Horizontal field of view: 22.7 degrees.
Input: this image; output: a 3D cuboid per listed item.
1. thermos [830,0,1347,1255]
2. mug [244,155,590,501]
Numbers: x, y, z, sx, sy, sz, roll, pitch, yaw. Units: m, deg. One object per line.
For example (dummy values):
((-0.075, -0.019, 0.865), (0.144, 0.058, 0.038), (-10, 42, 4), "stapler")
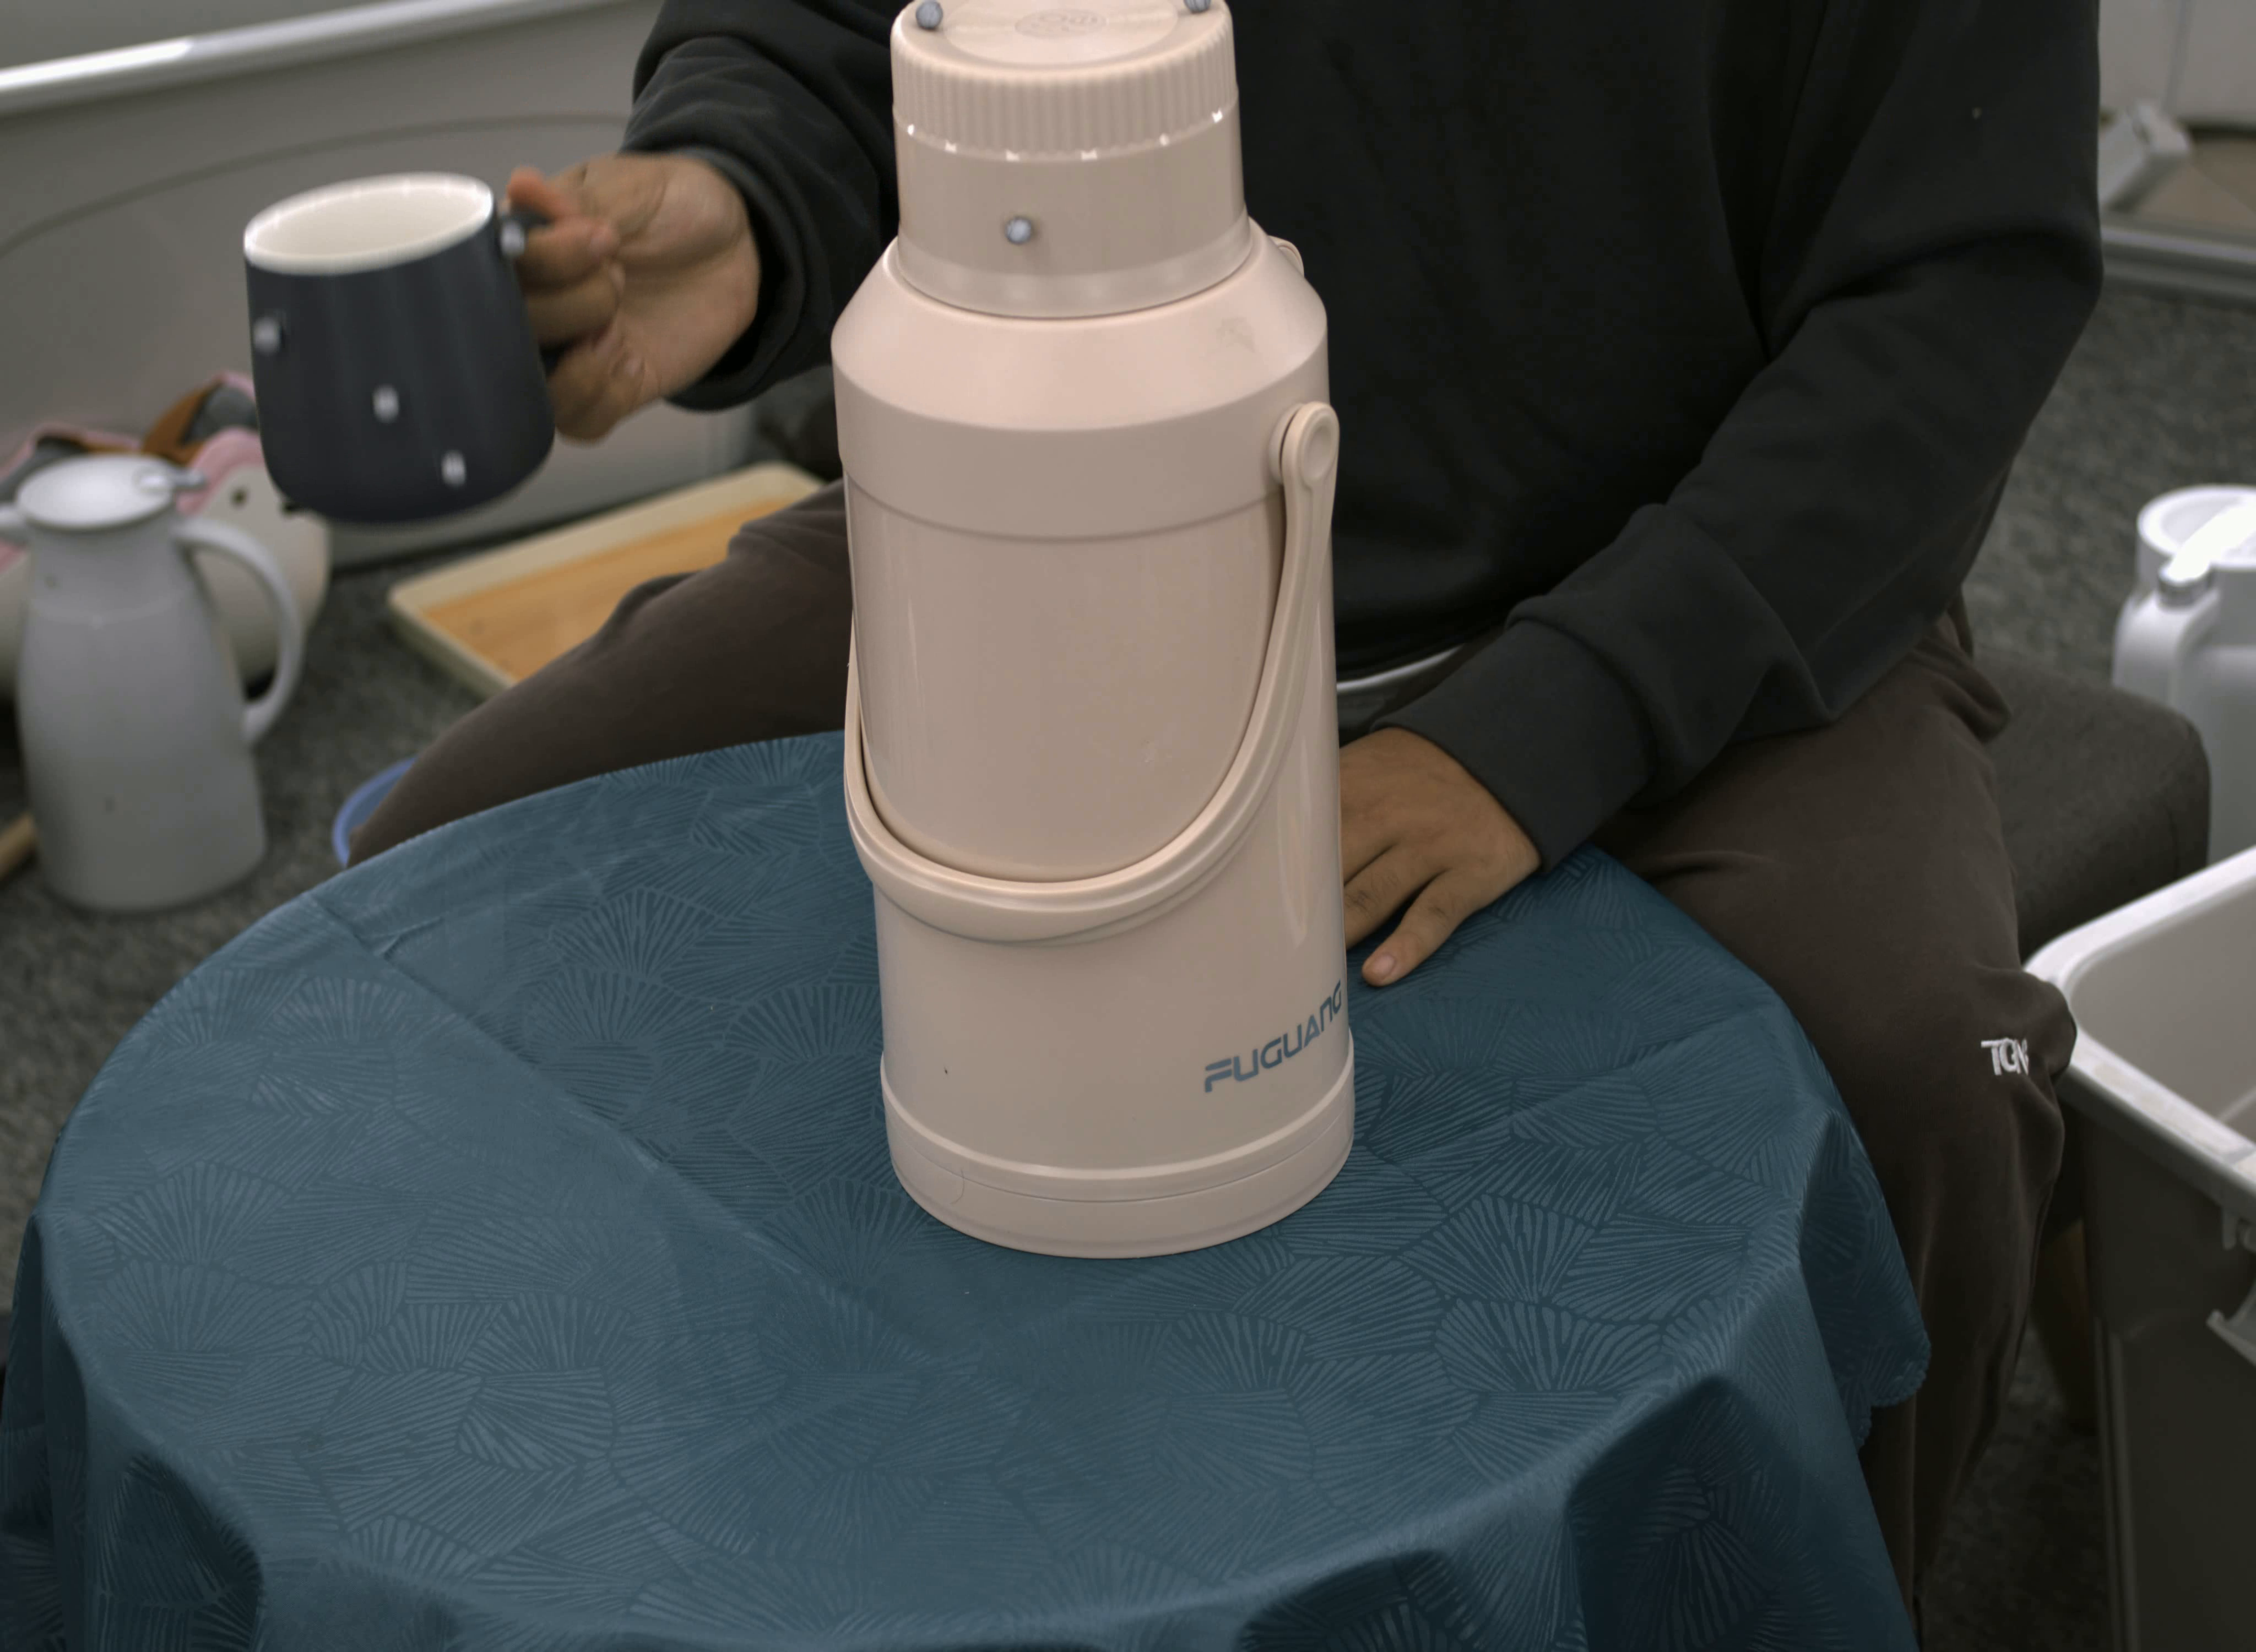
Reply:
((-0.004, -0.077, 1.823), (0.174, 0.402, 0.210), (13, 31, 30), "thermos")
((-0.221, -0.162, 1.795), (0.093, 0.089, 0.125), (14, 31, 42), "mug")
